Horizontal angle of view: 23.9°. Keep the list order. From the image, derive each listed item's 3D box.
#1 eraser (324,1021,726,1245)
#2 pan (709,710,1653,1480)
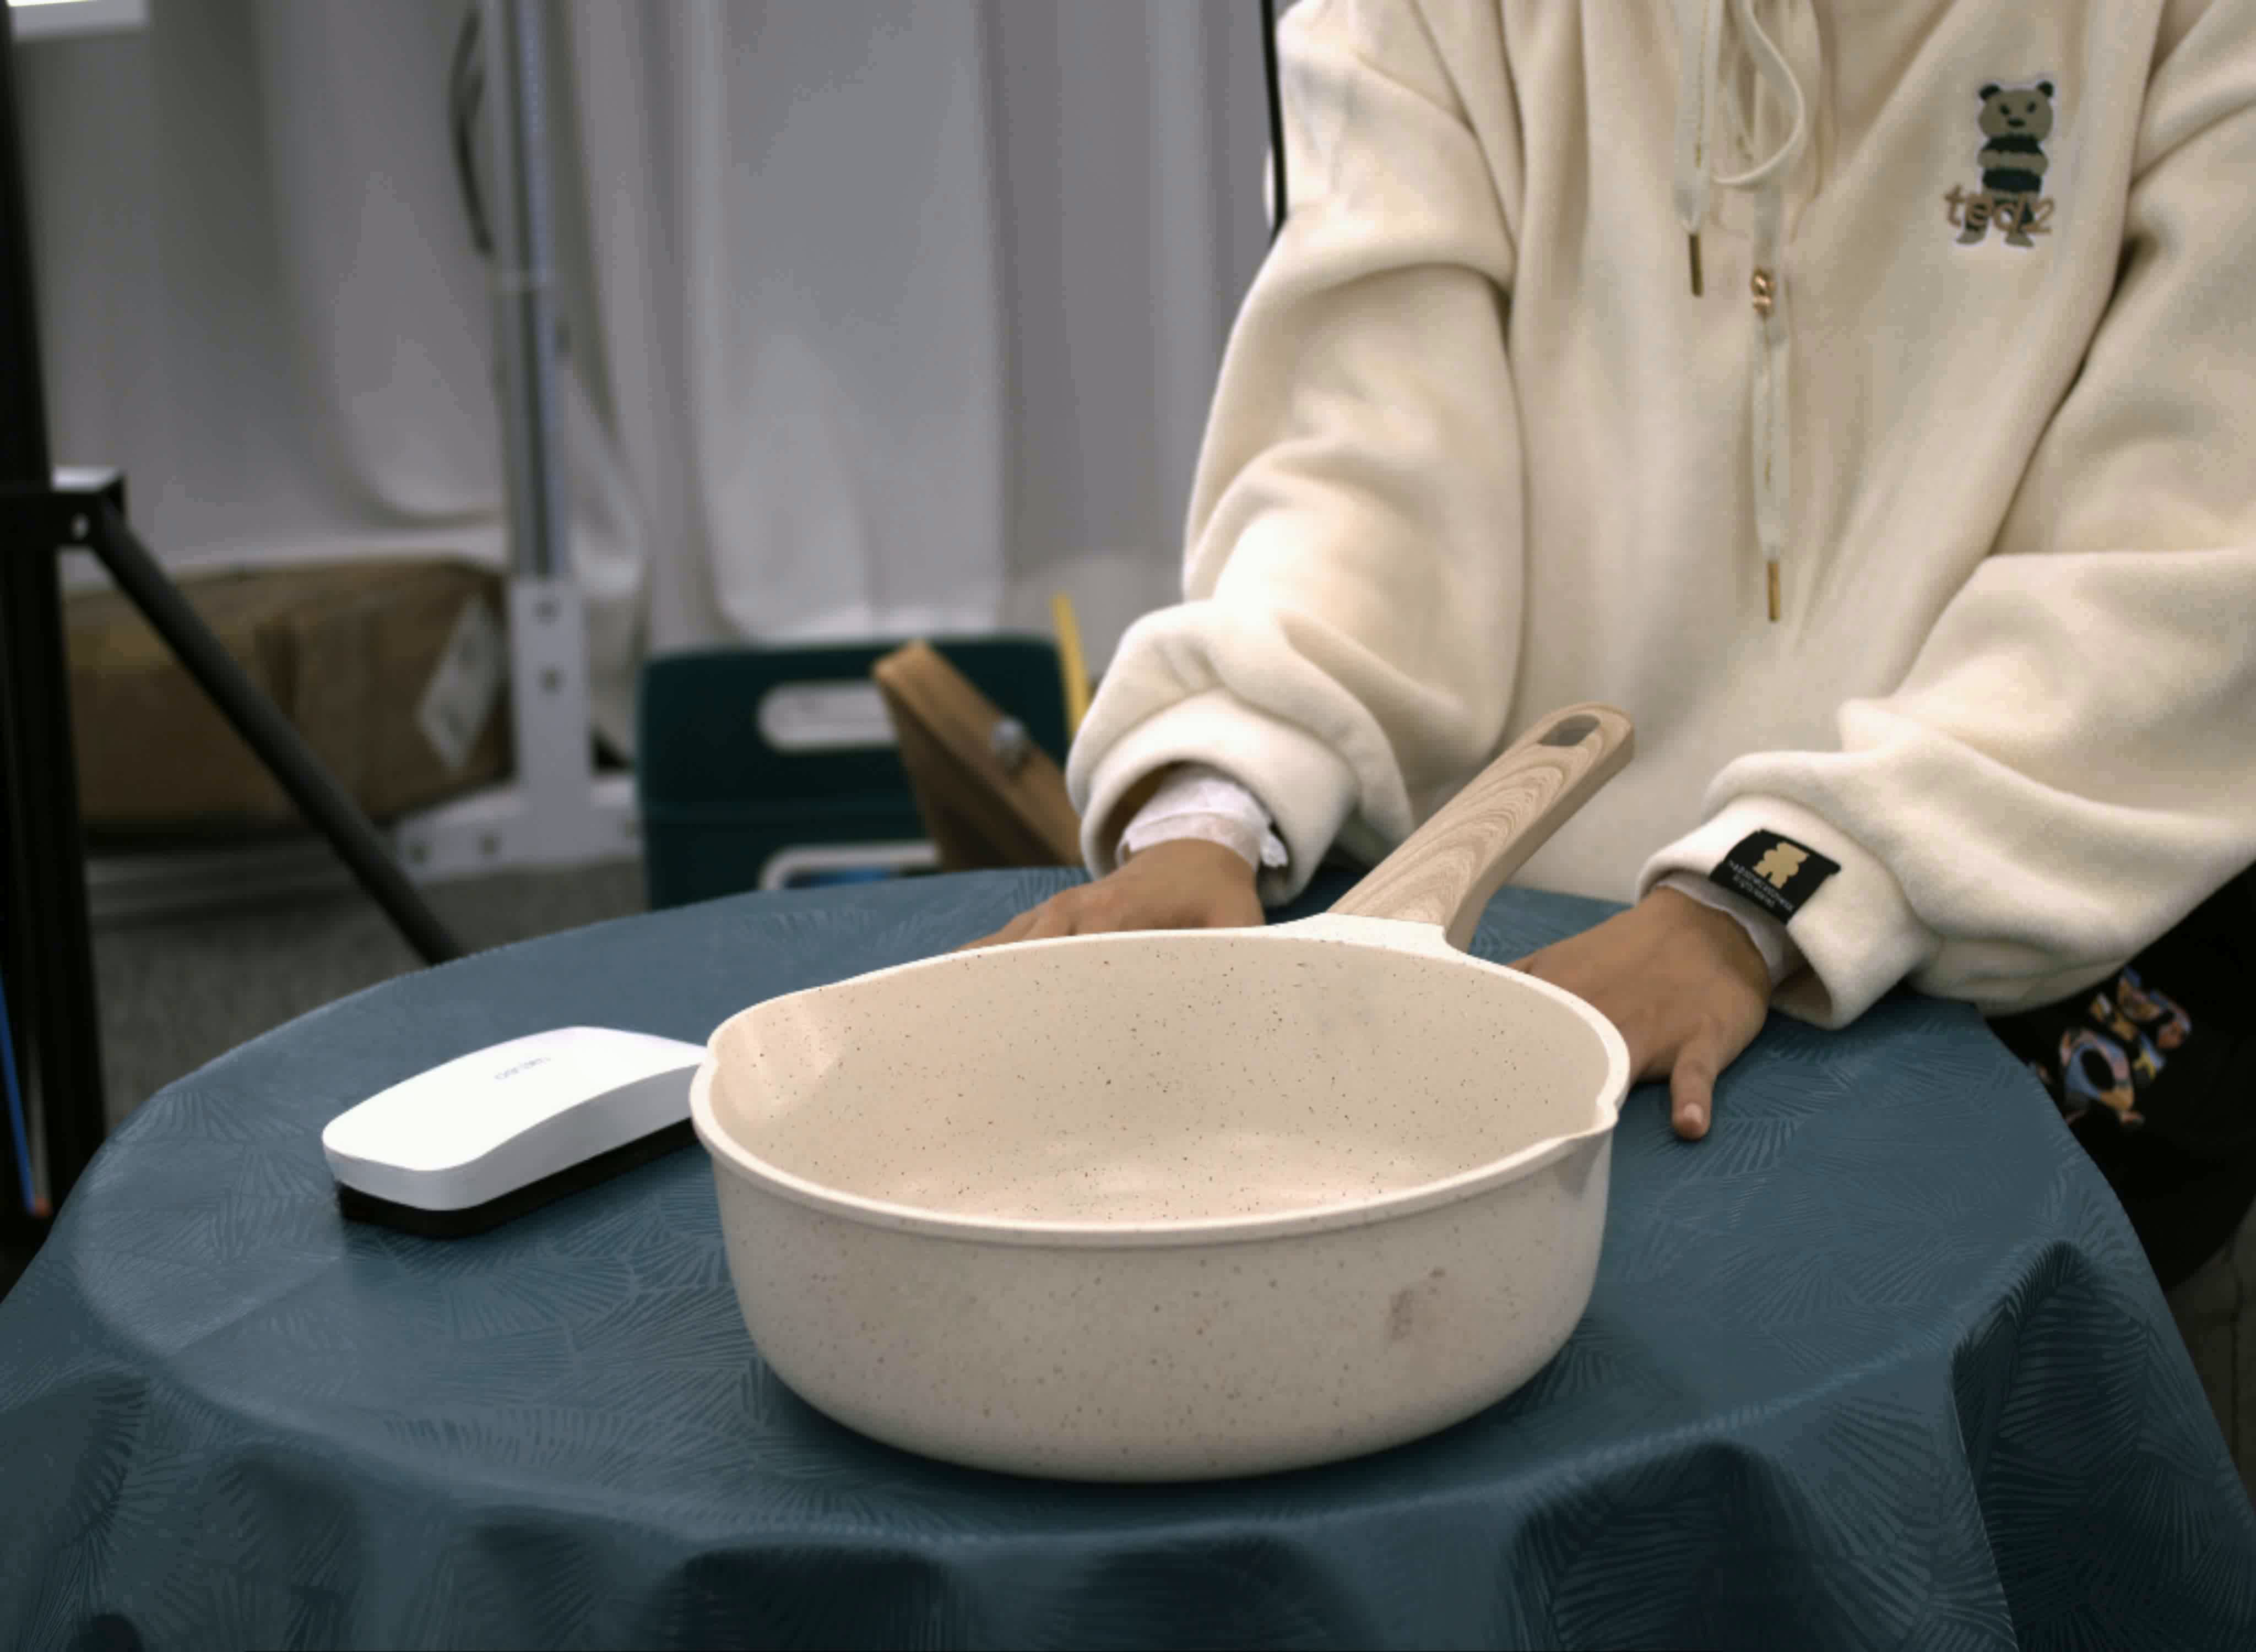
[{"bbox_3d":[-0.178,0.089,1.600,0.065,0.034,0.128,13,22,36],"label":"eraser"},{"bbox_3d":[0.055,0.070,1.495,0.267,0.102,0.428,4,17,27],"label":"pan"}]
